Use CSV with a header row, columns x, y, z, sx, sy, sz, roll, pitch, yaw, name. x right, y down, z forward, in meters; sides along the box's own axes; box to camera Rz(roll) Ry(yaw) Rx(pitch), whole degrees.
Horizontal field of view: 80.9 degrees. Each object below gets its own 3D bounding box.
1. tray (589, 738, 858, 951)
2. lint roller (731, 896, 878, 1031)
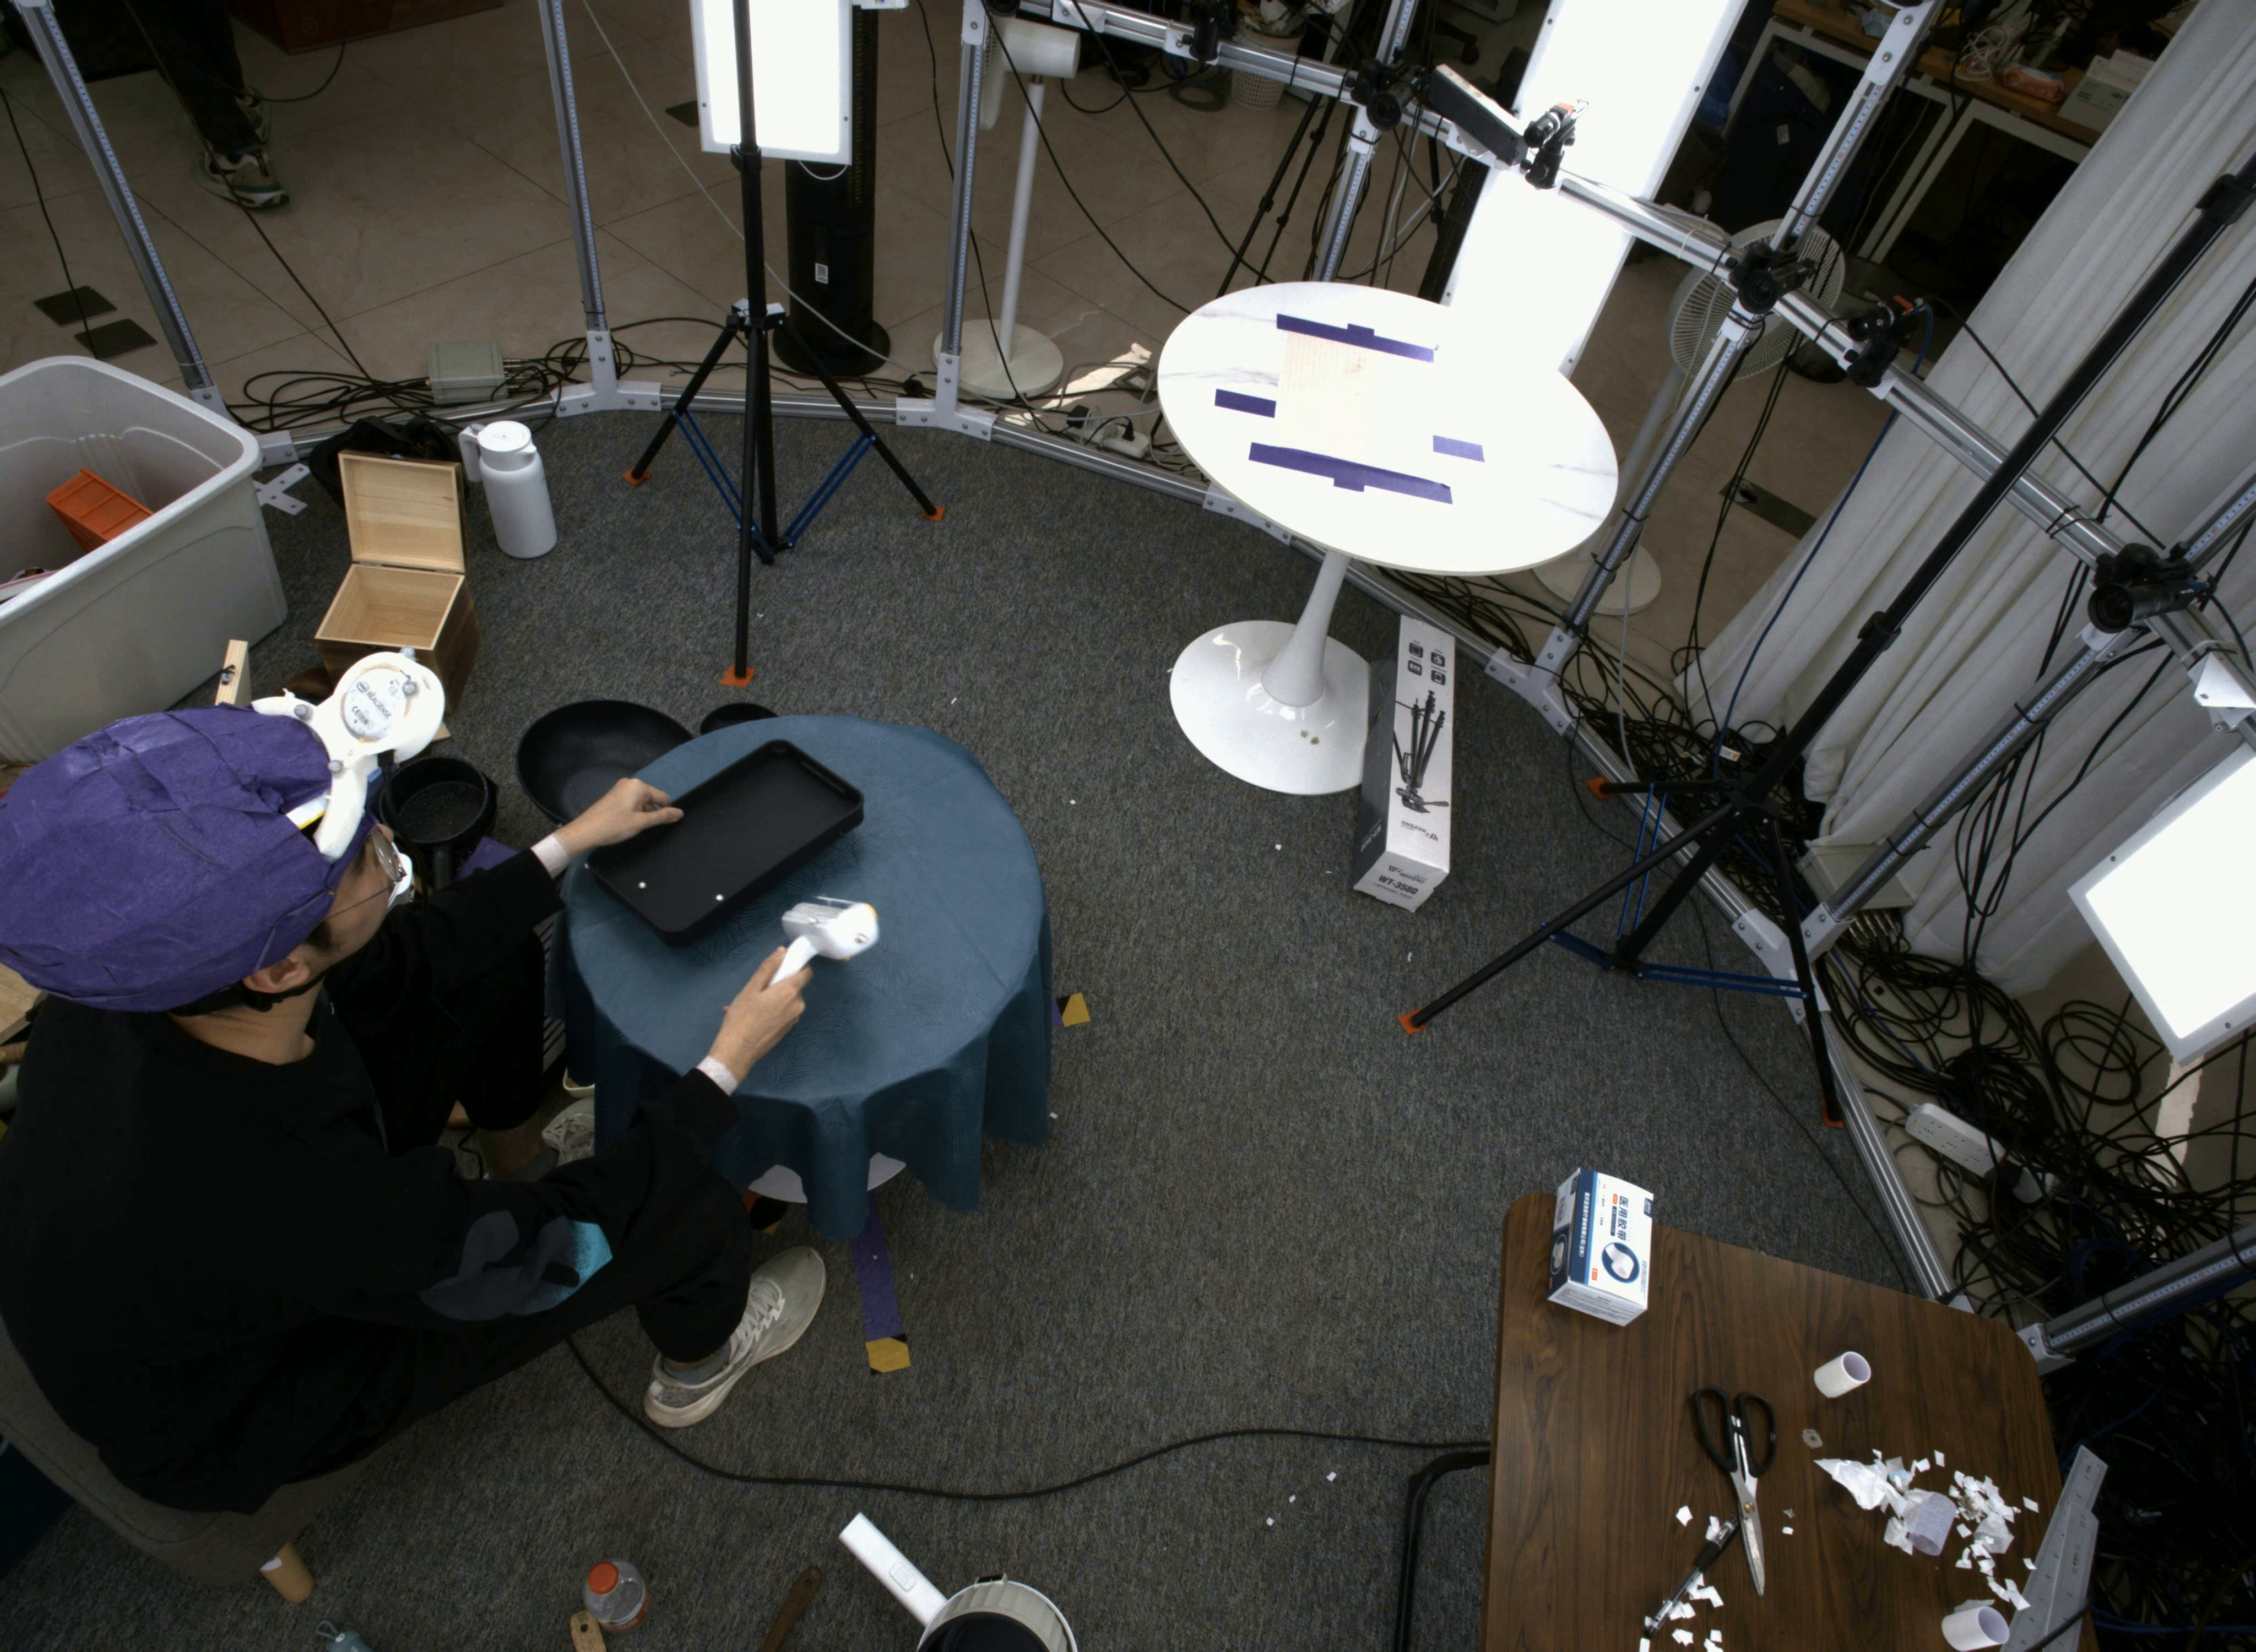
x,y,z,sx,sy,sz,roll,pitch,yaw,name
-0.509,0.014,1.634,0.179,0.038,0.318,31,51,22,tray
-0.391,0.155,1.511,0.192,0.187,0.076,-38,112,-22,lint roller
